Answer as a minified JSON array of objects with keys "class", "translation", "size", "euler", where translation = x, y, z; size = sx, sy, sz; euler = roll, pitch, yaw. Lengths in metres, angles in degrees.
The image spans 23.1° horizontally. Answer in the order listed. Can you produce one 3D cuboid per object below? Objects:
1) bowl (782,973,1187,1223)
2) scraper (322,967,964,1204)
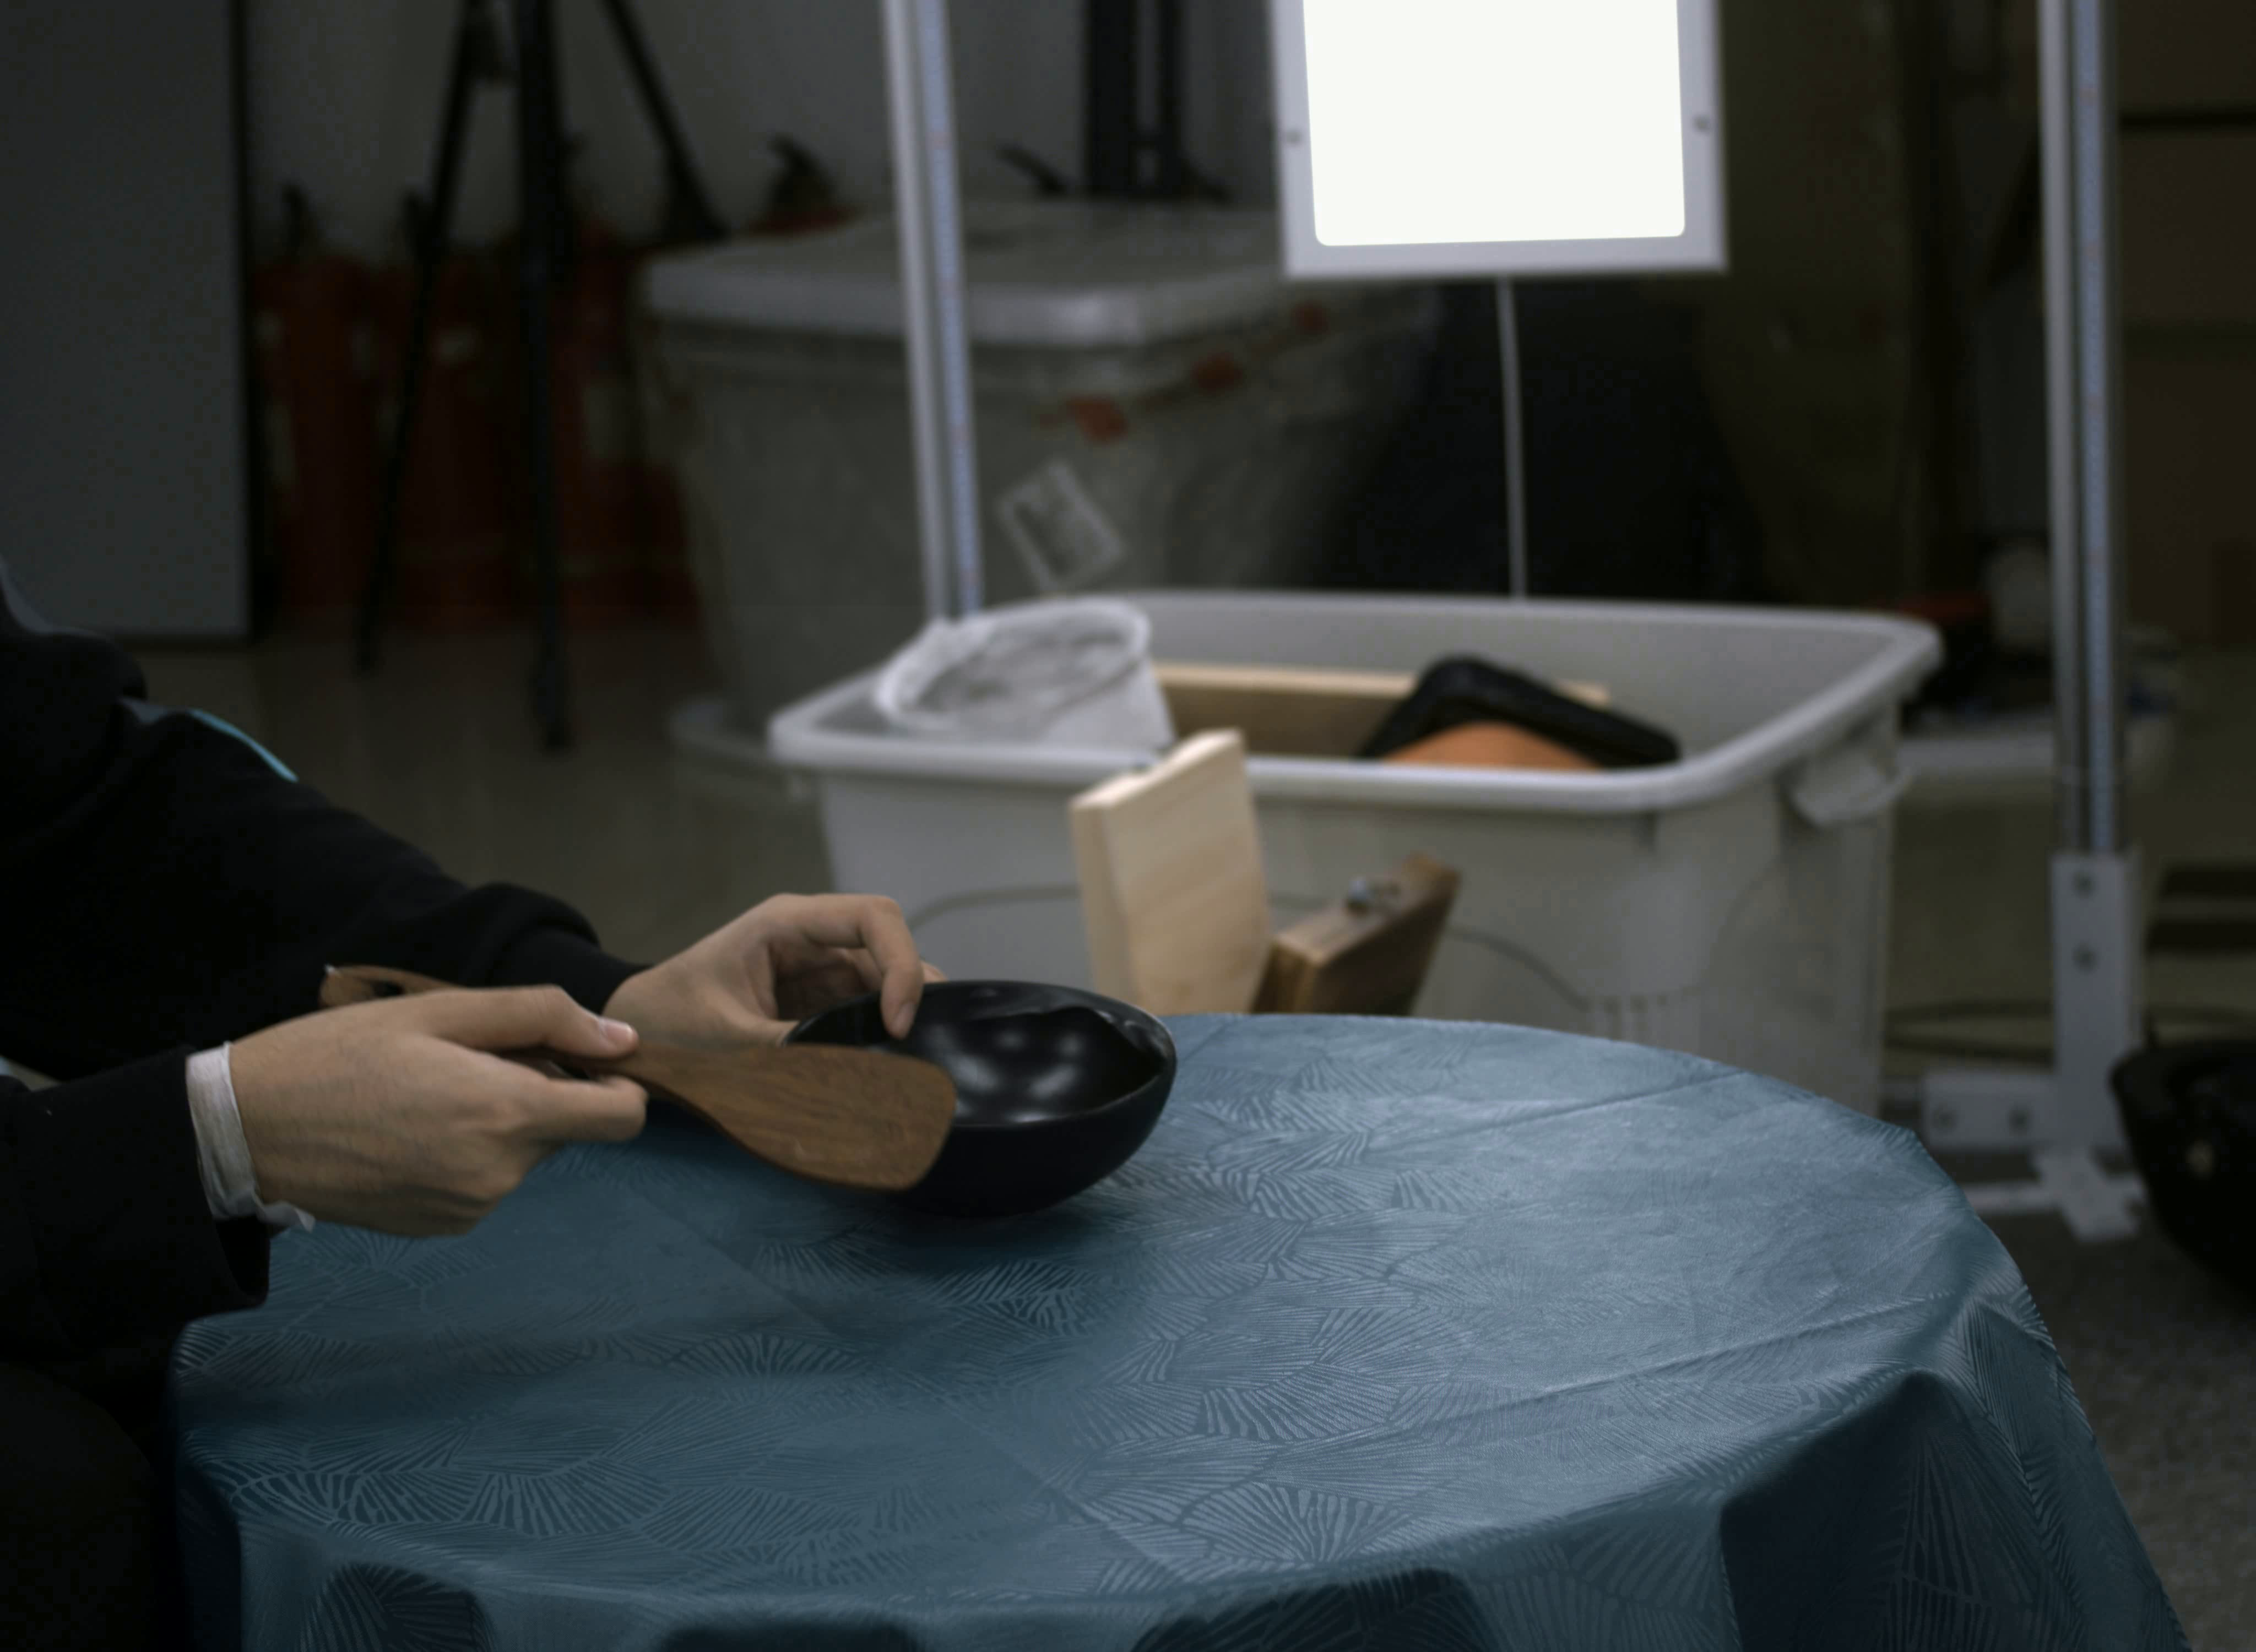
[{"class":"bowl","translation":[-0.049,0.100,1.900],"size":[0.139,0.050,0.140],"euler":[-3,22,0]},{"class":"scraper","translation":[-0.158,0.078,1.781],"size":[0.212,0.011,0.075],"euler":[14,33,7]}]
